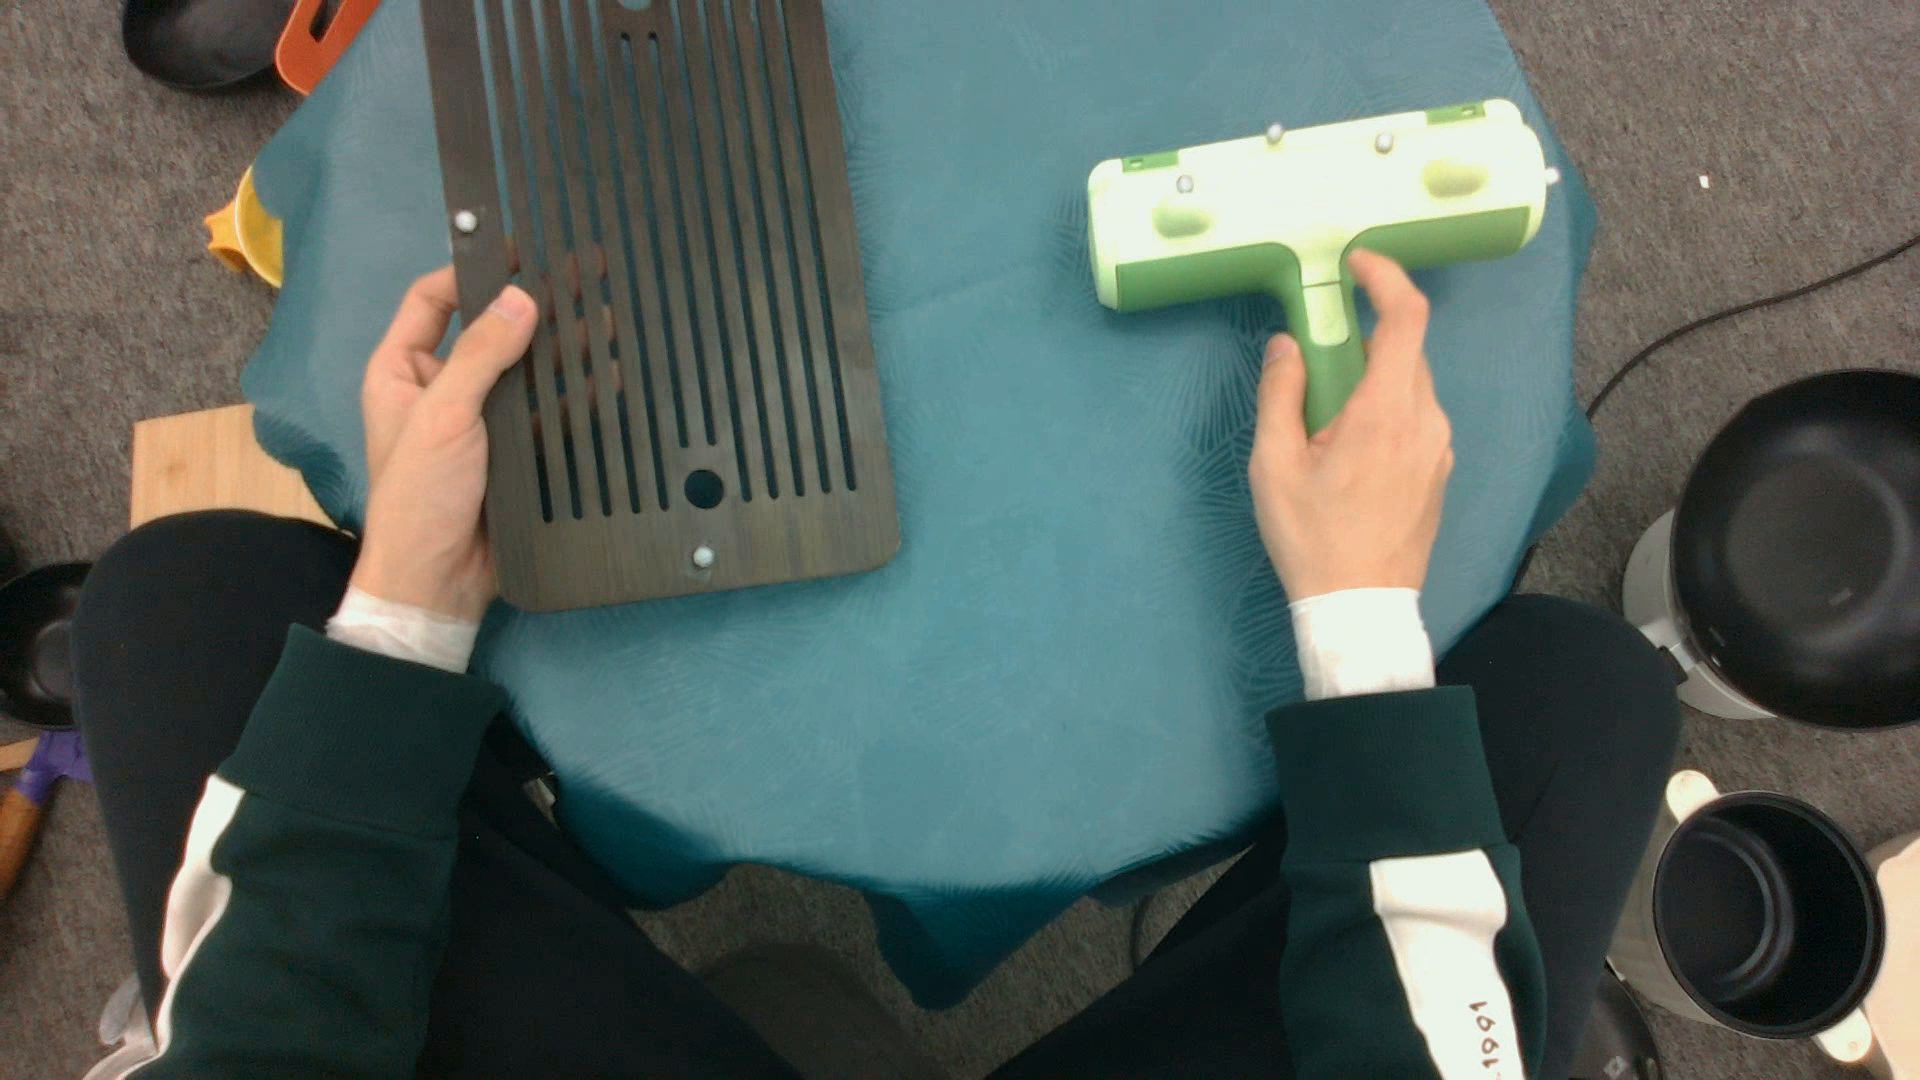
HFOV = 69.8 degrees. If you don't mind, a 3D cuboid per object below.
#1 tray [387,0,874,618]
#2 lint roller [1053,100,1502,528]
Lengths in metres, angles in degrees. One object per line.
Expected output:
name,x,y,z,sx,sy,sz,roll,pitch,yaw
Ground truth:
tray,-0.143,-0.126,0.598,0.170,0.018,0.306,-8,84,-21
lint roller,0.148,-0.101,0.606,0.198,0.082,0.184,-7,73,2
